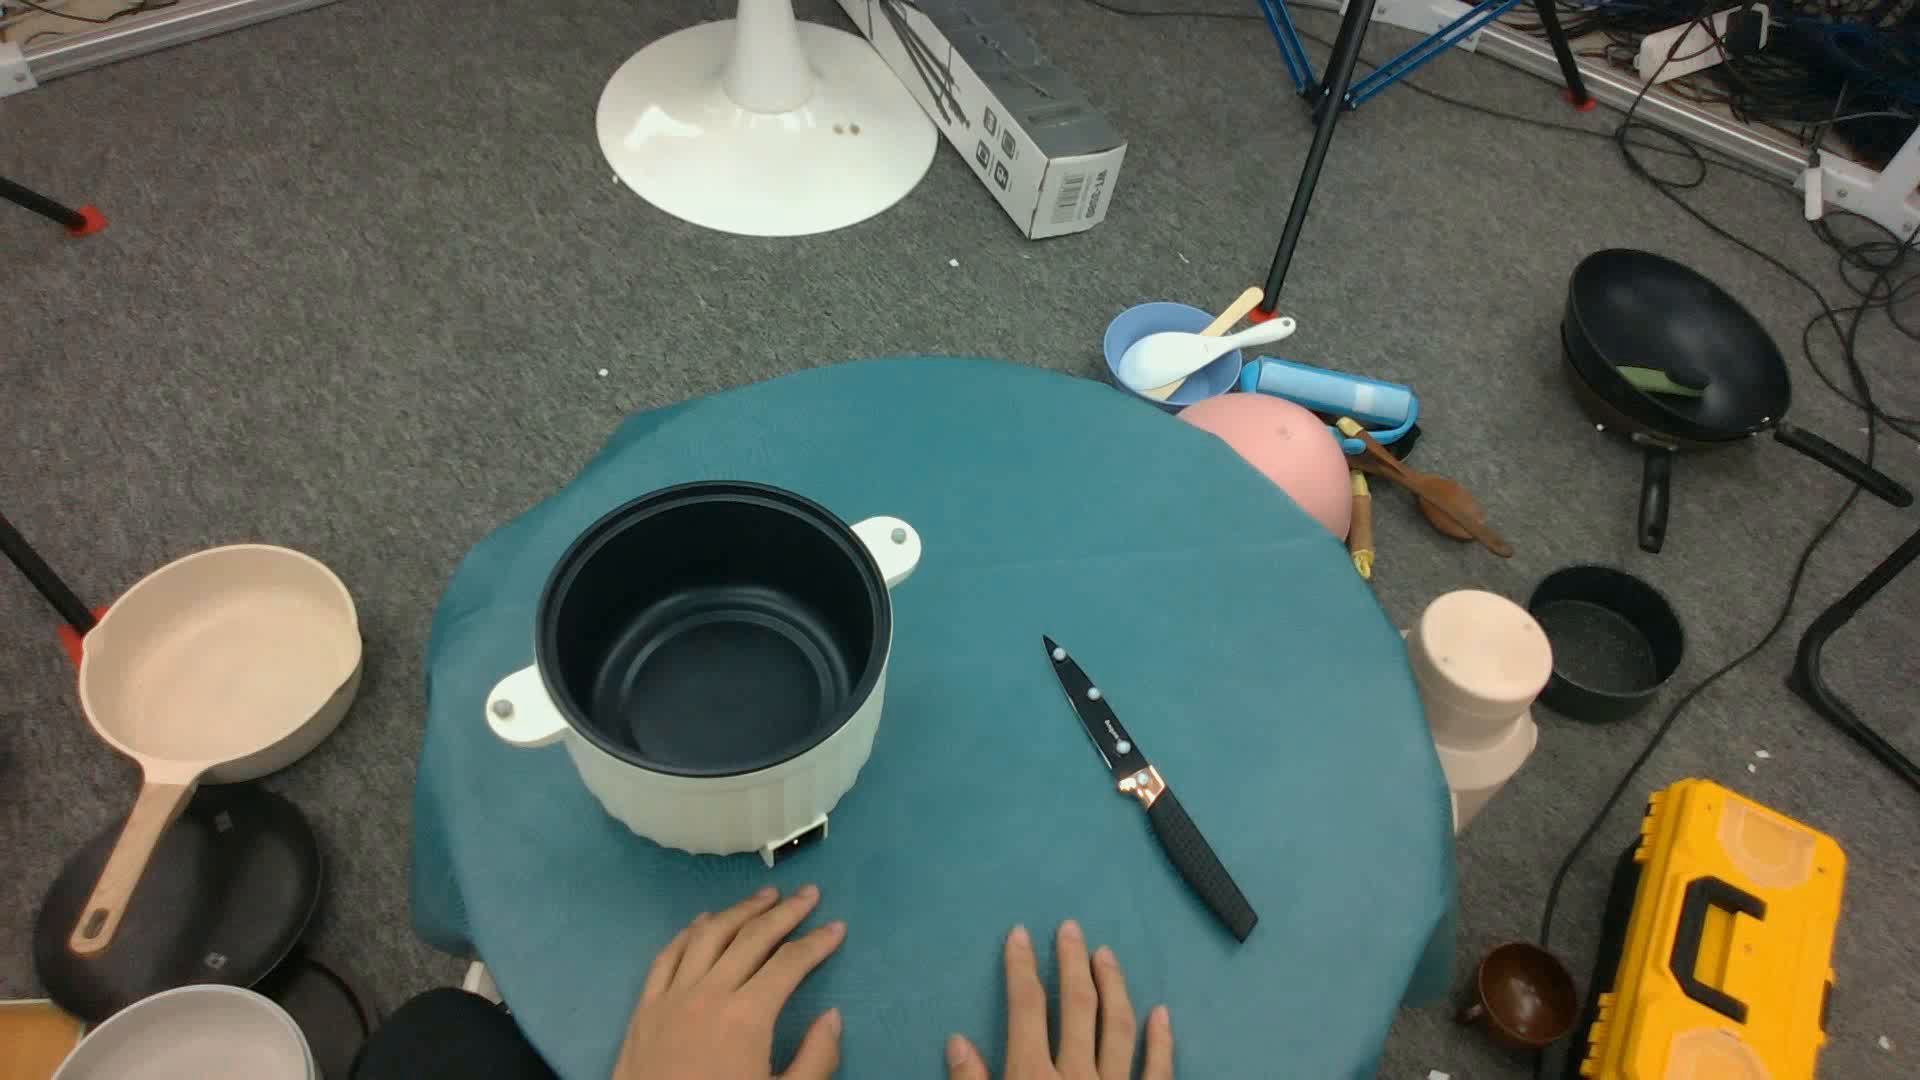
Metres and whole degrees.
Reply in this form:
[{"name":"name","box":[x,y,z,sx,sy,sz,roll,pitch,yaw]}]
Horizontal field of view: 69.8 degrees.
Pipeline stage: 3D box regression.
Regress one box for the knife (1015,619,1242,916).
[{"name":"knife","box":[0.097,0.129,0.827,0.026,0.017,0.226,-30,61,-8]}]

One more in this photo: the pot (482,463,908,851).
[{"name":"pot","box":[-0.141,0.066,0.765,0.241,0.142,0.191,-26,64,-24]}]
